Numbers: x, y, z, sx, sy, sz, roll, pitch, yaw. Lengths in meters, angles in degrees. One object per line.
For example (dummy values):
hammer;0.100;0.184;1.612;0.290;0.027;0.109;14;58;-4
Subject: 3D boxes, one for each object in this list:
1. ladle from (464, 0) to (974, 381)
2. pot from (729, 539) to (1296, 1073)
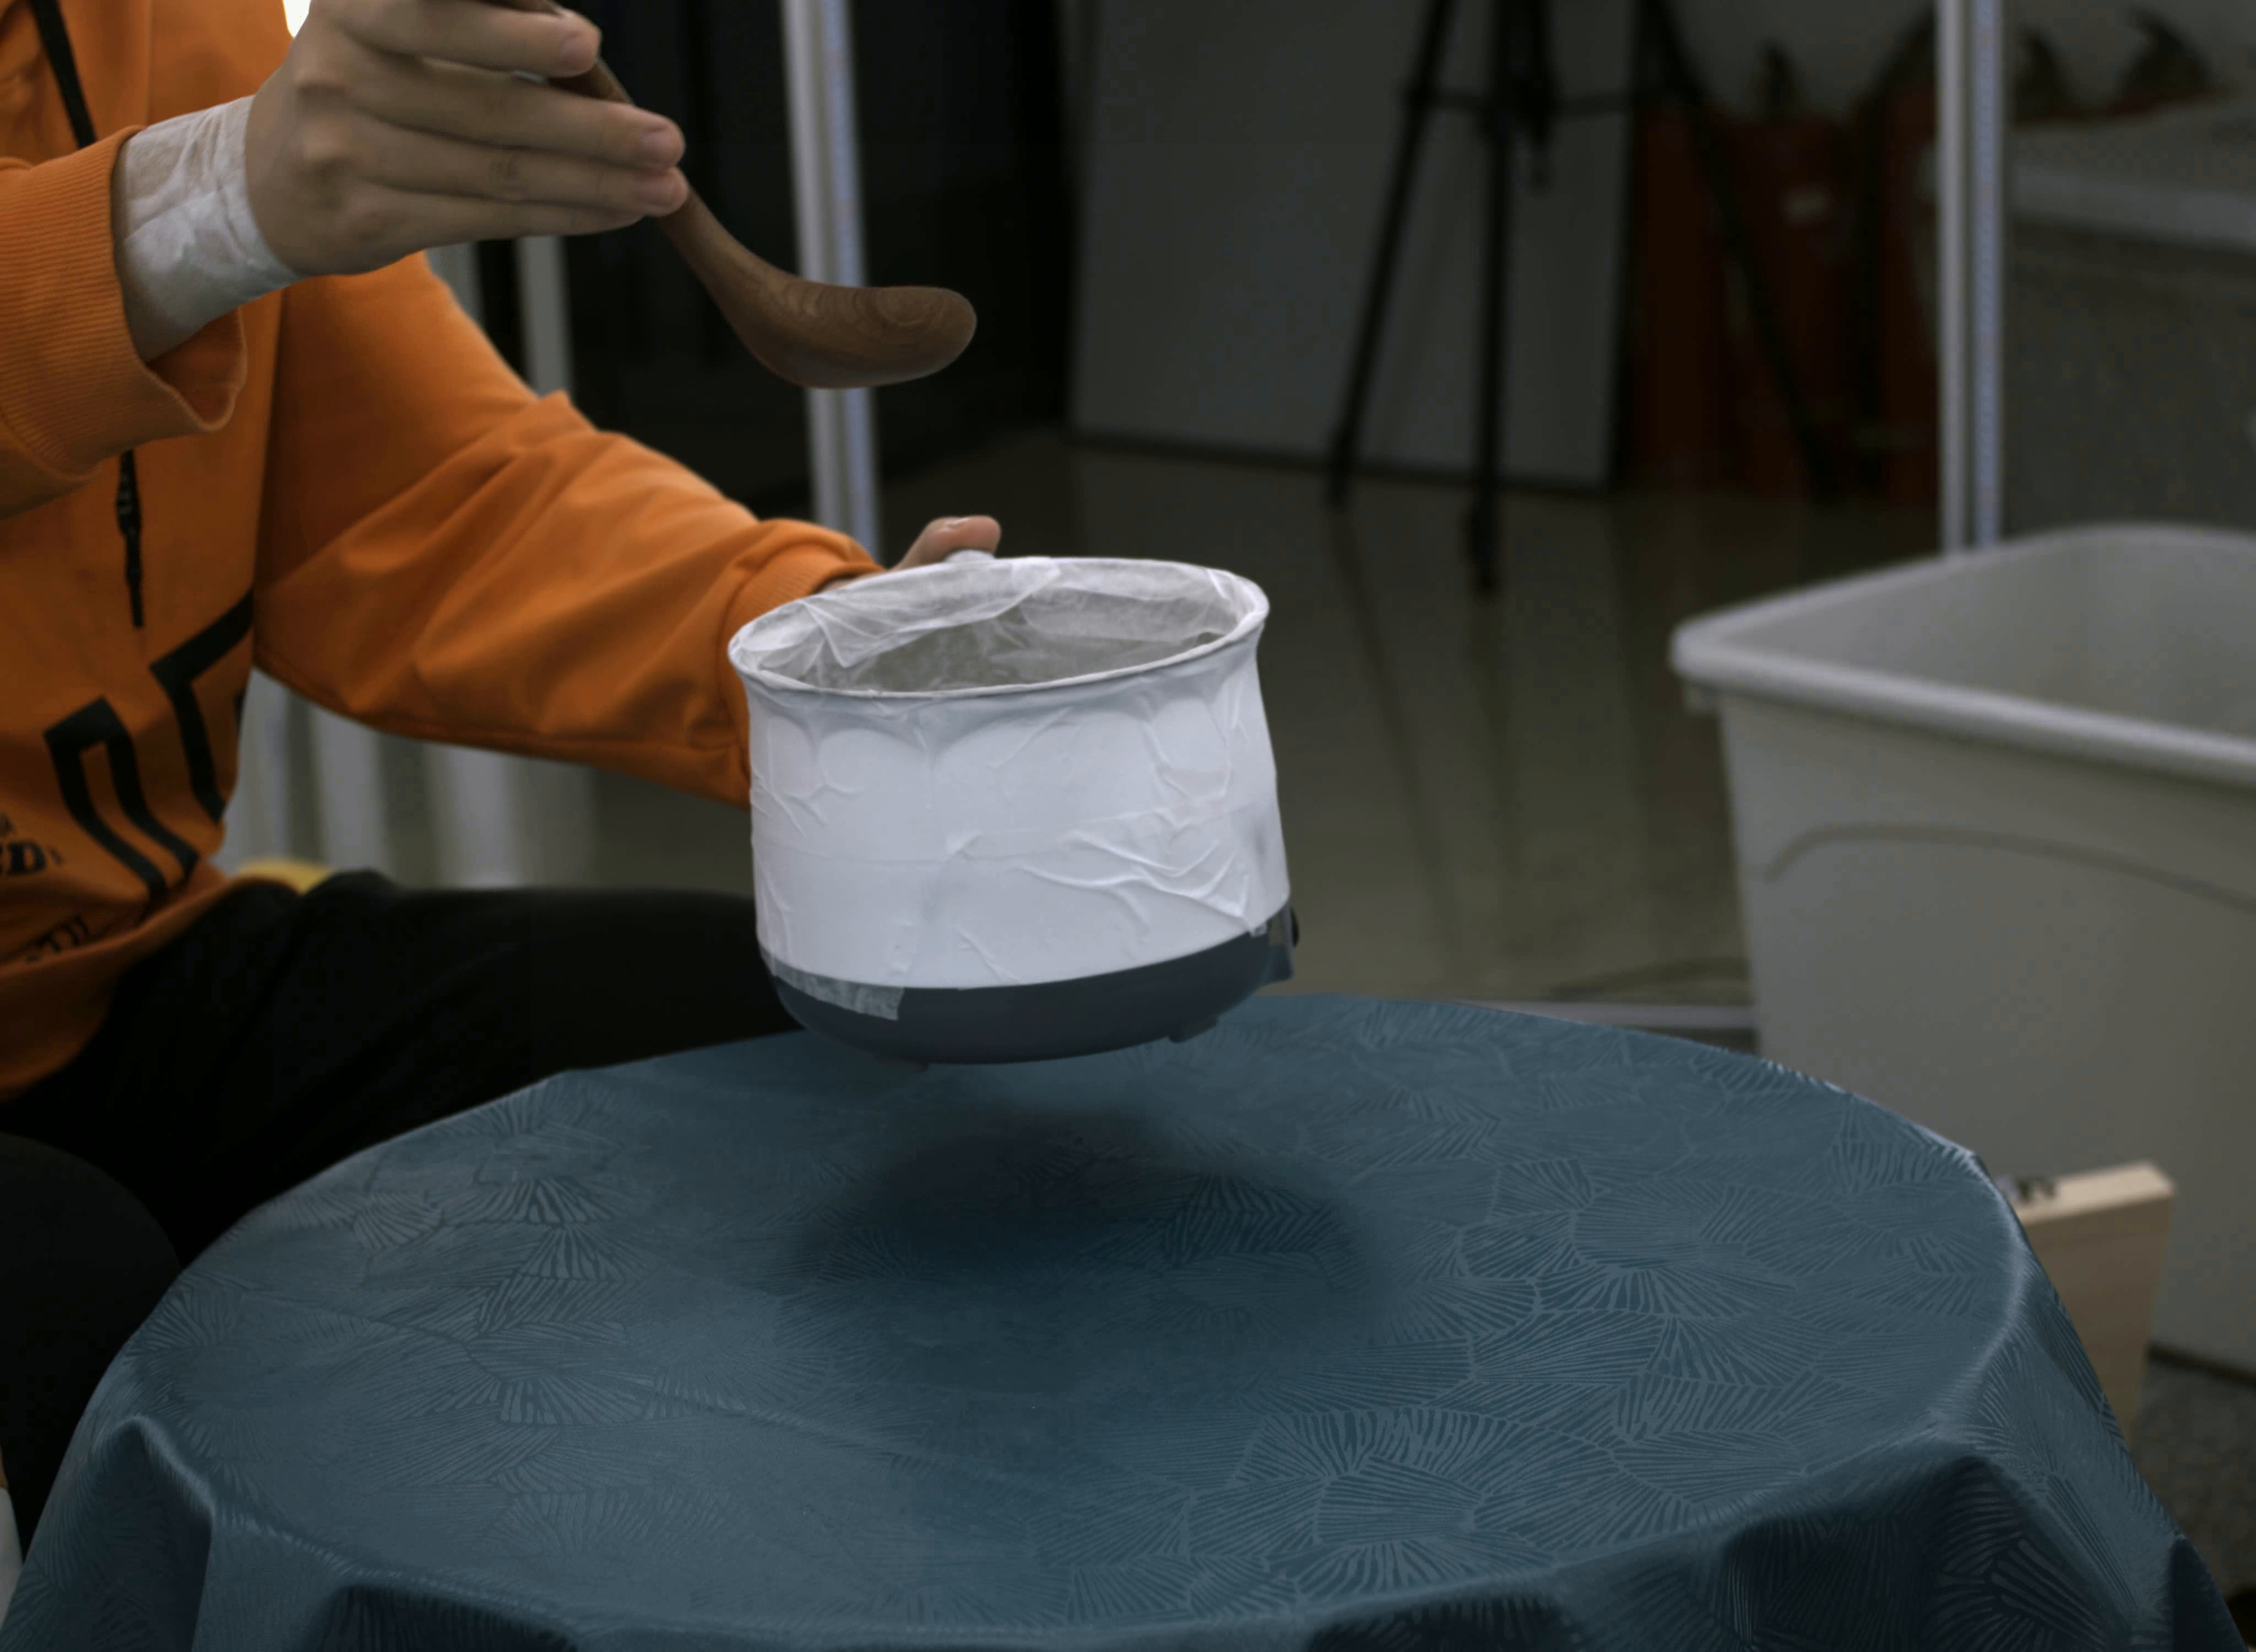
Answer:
ladle;-0.140;-0.213;1.612;0.077;0.257;0.065;-13;48;37
pot;-0.040;-0.013;1.779;0.176;0.138;0.235;-7;15;-6
